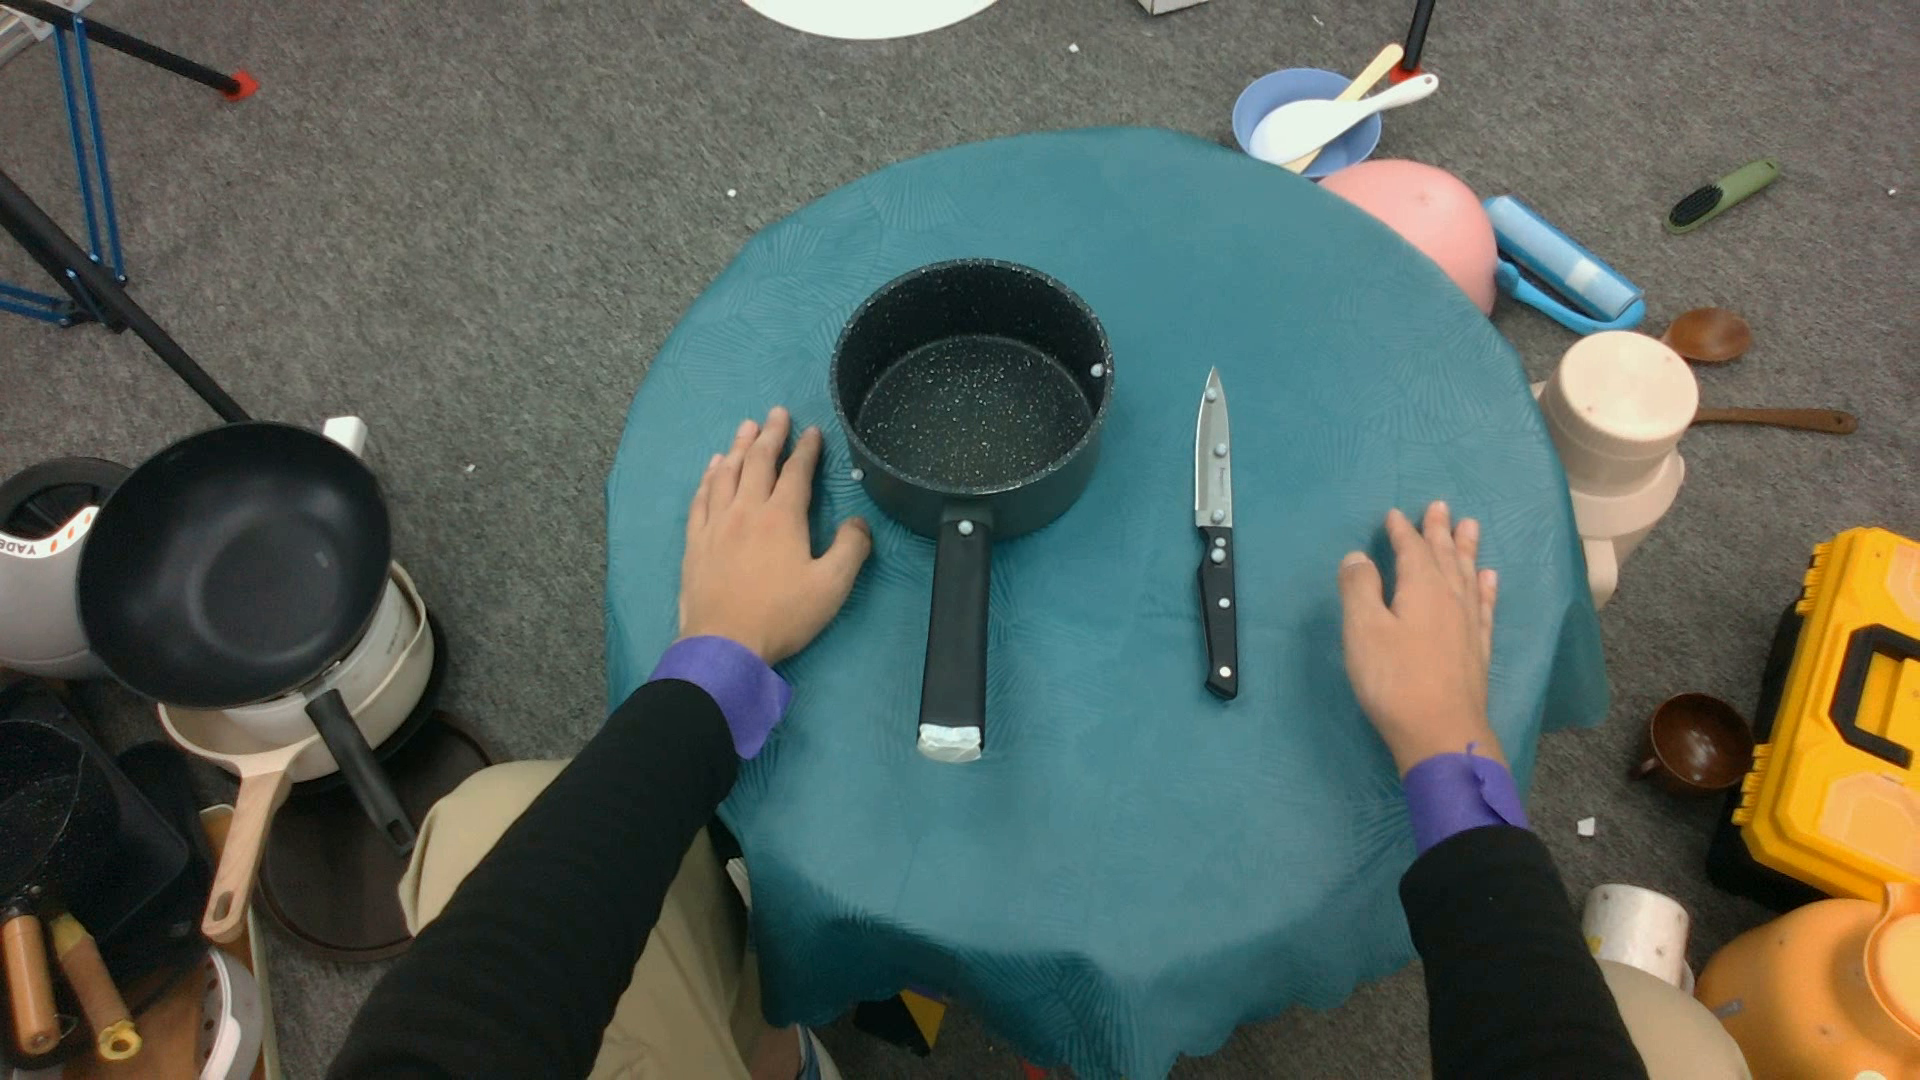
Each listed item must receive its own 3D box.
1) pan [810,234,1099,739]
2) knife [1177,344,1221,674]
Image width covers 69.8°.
[{"bbox_3d":[-0.009,-0.029,0.812,0.172,0.086,0.330,4,61,4],"label":"pan"},{"bbox_3d":[0.148,-0.027,0.847,0.024,0.016,0.239,1,59,4],"label":"knife"}]
